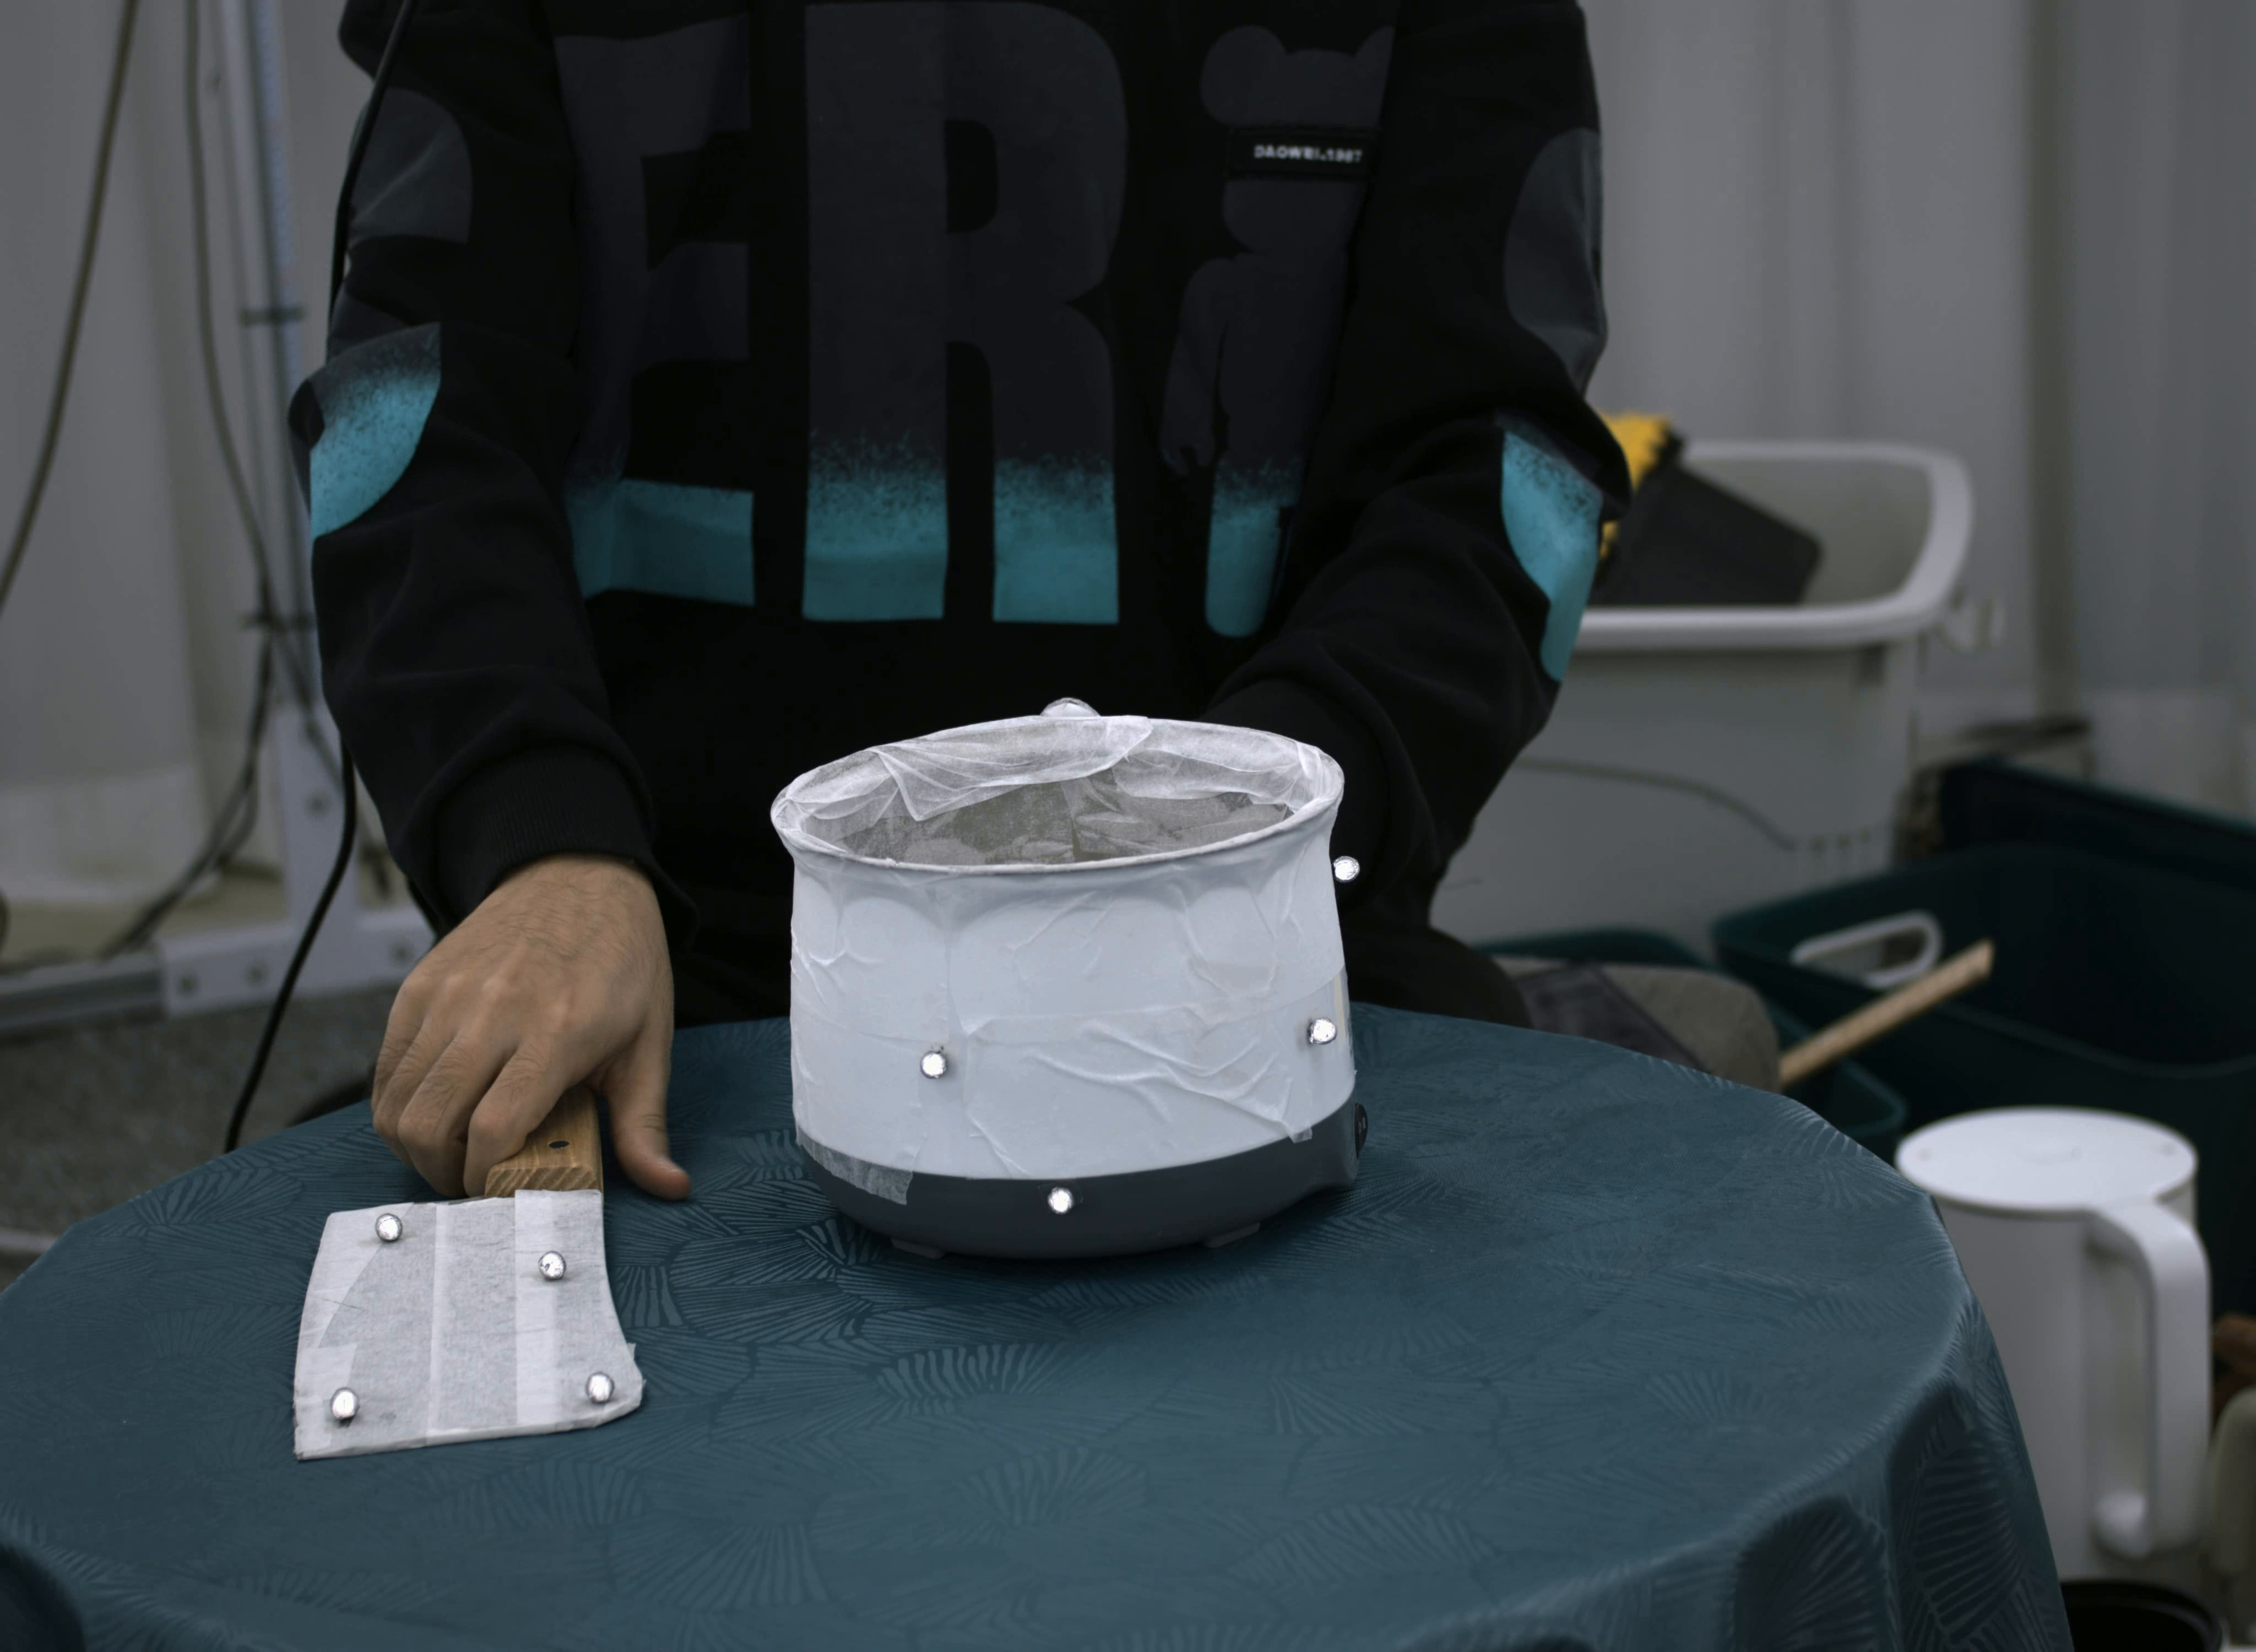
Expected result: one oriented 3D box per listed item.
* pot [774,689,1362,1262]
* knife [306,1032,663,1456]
[{"bbox_3d":[-0.018,0.042,1.723,0.178,0.136,0.235,-2,16,1],"label":"pot"},{"bbox_3d":[-0.194,0.126,1.677,0.113,0.021,0.318,-4,18,-1],"label":"knife"}]
